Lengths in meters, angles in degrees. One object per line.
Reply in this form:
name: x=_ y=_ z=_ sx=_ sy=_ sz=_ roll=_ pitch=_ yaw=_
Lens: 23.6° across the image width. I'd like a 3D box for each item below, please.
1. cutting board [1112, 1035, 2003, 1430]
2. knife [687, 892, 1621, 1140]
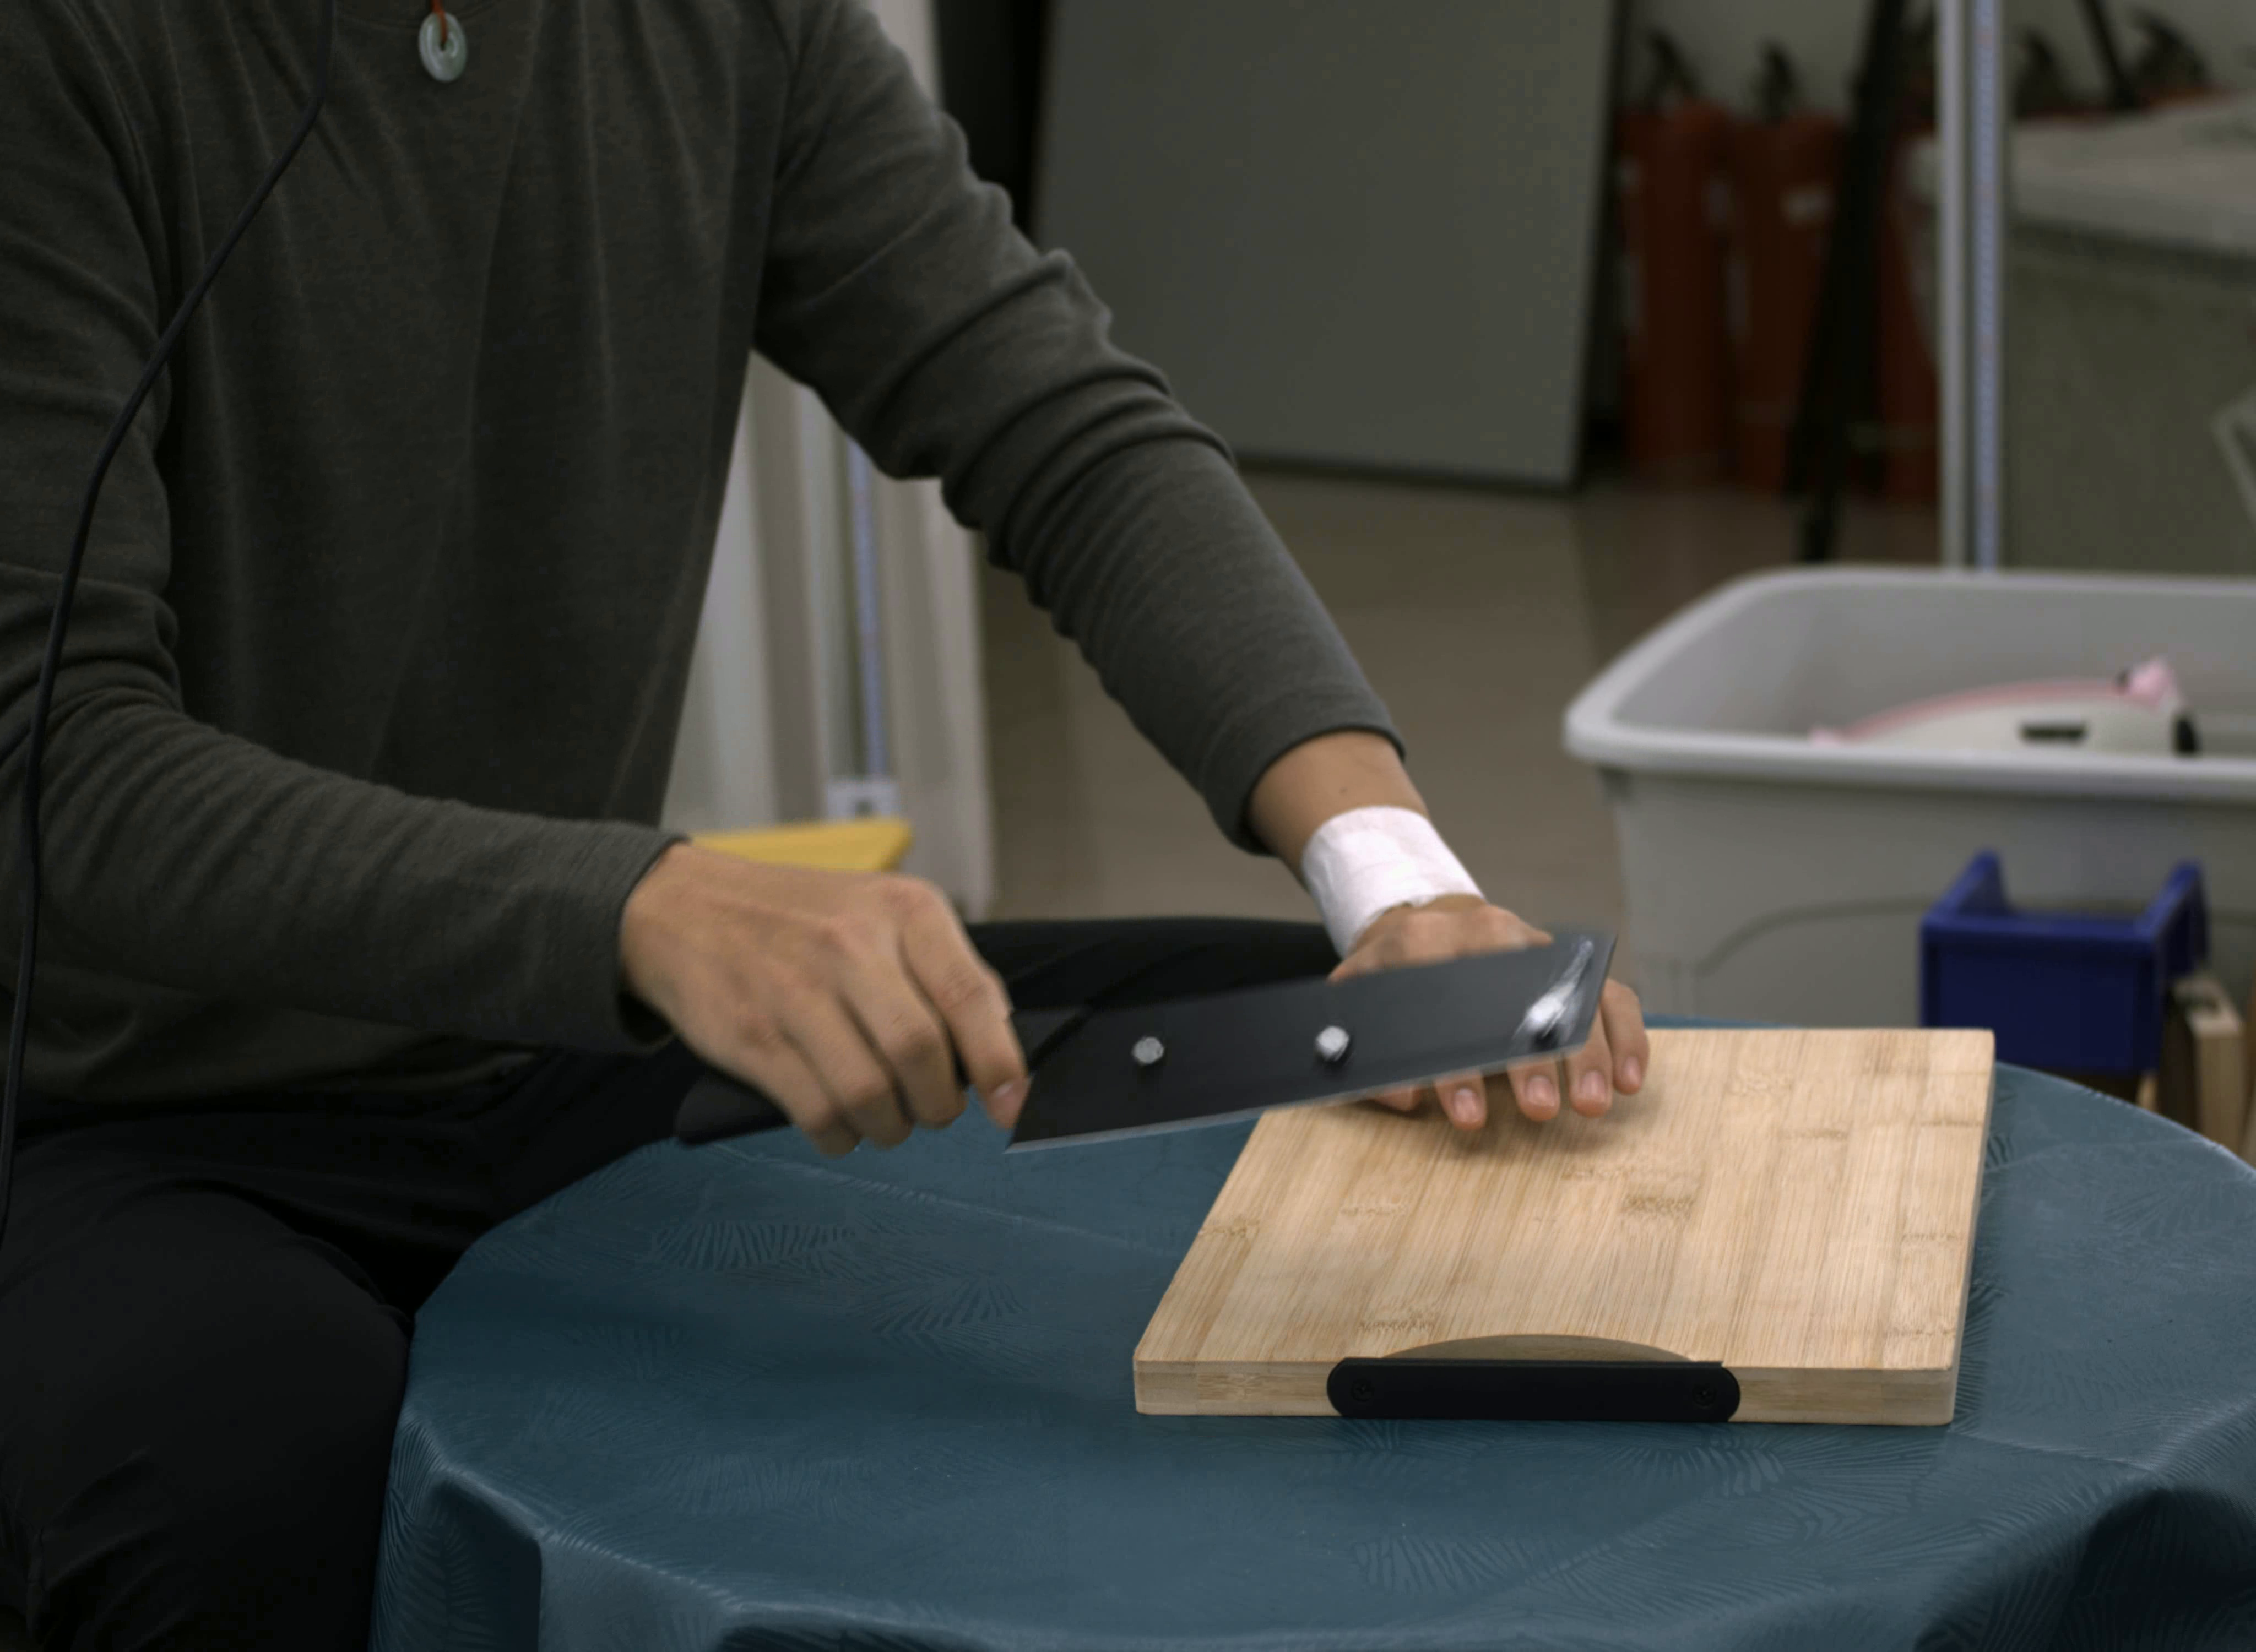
cutting board: x=0.147 y=0.123 z=1.691 sx=0.249 sy=0.024 sz=0.347 roll=-2 pitch=13 yaw=12
knife: x=0.004 y=0.063 z=1.601 sx=0.303 sy=0.021 sz=0.080 roll=-10 pitch=30 yaw=25
